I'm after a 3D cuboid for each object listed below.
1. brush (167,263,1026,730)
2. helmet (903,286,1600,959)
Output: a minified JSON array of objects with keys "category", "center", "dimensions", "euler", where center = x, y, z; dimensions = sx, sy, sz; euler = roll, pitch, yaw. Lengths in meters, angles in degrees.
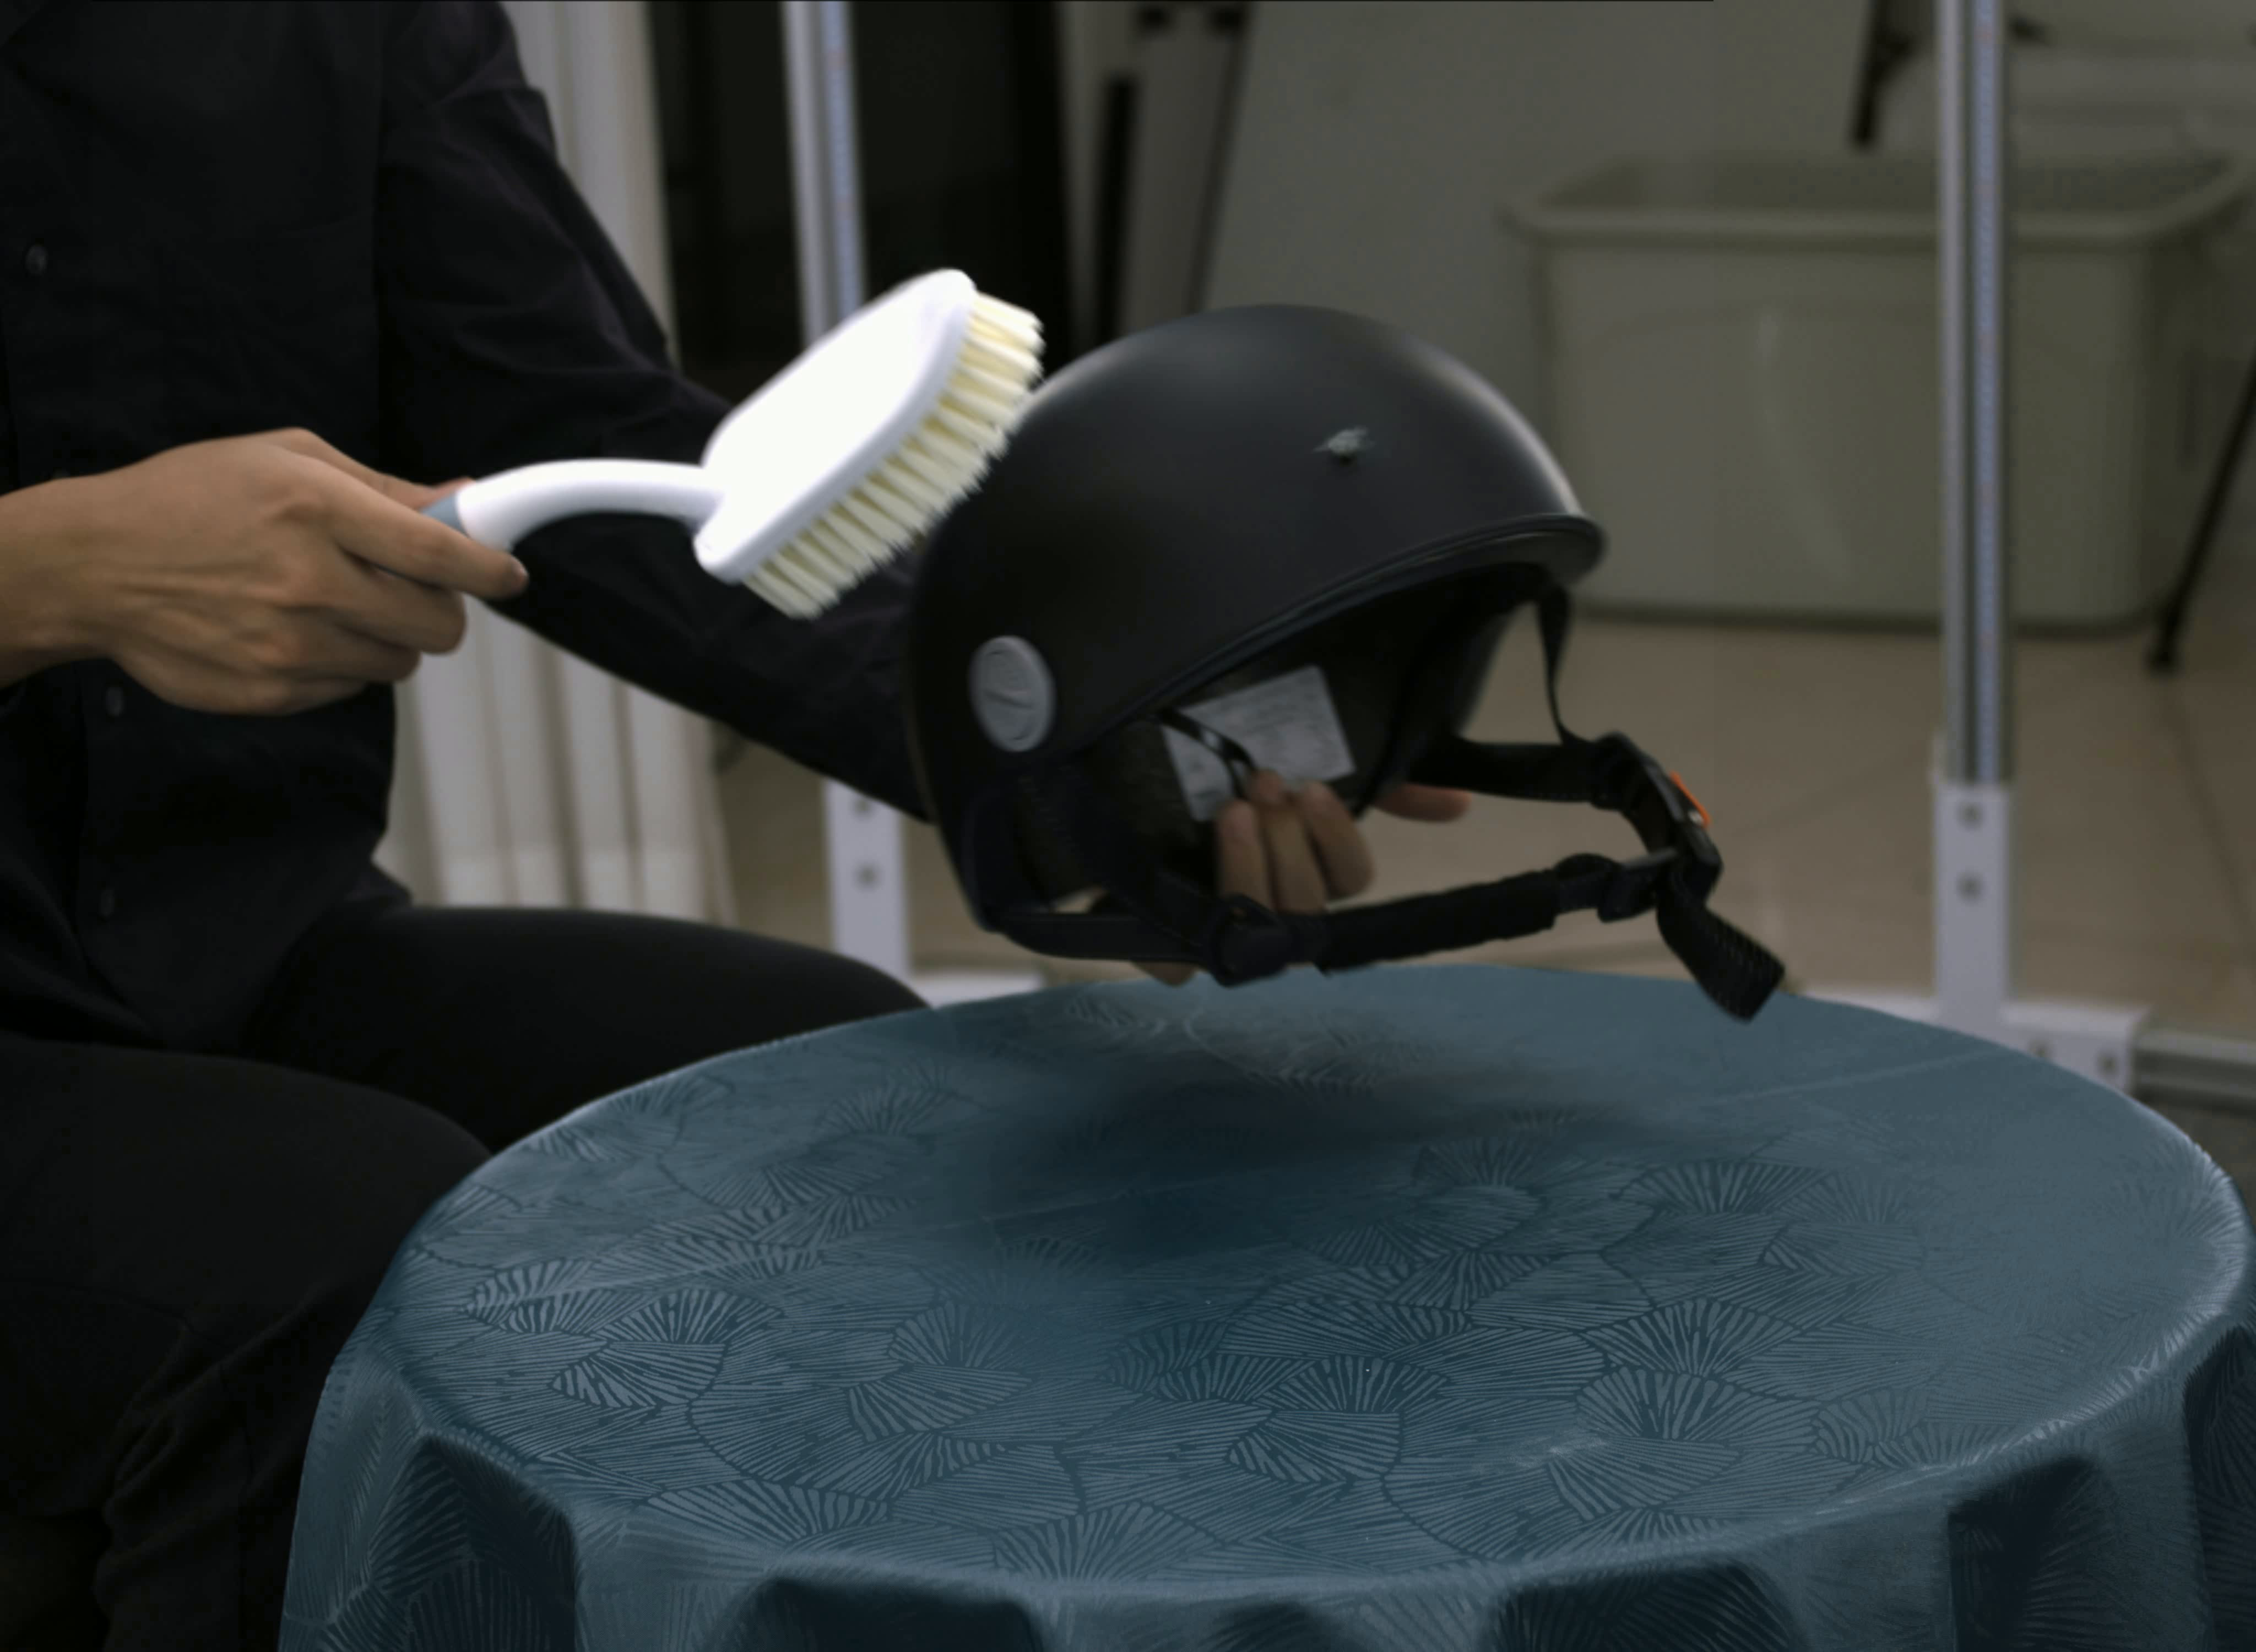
[{"category":"brush","center":[-0.162,-0.087,1.714],"dimensions":[0.326,0.085,0.082],"euler":[-25,7,25]},{"category":"helmet","center":[0.027,-0.085,1.805],"dimensions":[0.226,0.168,0.275],"euler":[-21,-21,-25]}]
